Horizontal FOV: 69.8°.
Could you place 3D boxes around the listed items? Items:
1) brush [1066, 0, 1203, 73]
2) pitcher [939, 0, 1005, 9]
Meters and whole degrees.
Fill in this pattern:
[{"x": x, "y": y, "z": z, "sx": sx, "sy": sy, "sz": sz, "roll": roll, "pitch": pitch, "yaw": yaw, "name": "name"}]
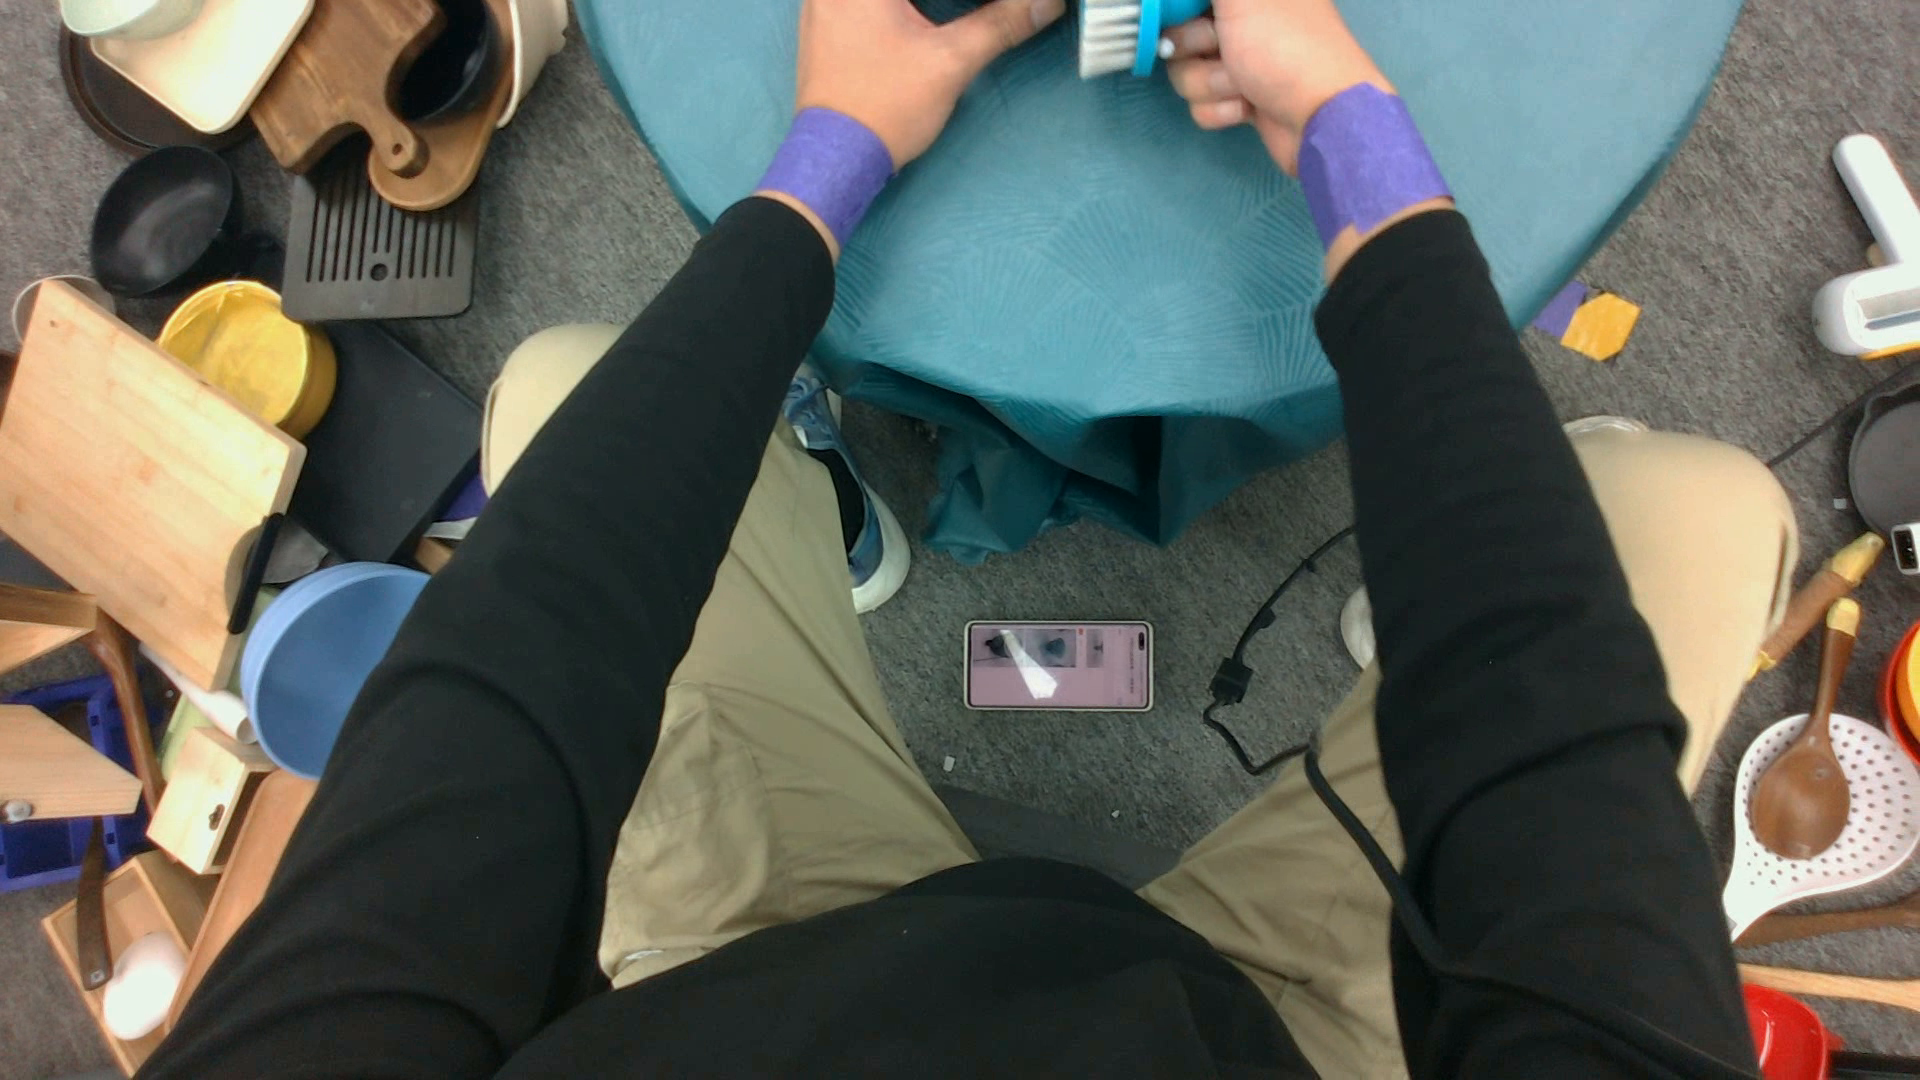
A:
[{"x": 0.083, "y": -0.278, "z": 0.633, "sx": 0.064, "sy": 0.084, "sz": 0.142, "roll": 2, "pitch": 69, "yaw": 0, "name": "brush"}, {"x": 0.006, "y": -0.299, "z": 0.654, "sx": 0.083, "sy": 0.071, "sz": 0.096, "roll": 10, "pitch": 86, "yaw": 10, "name": "pitcher"}]
